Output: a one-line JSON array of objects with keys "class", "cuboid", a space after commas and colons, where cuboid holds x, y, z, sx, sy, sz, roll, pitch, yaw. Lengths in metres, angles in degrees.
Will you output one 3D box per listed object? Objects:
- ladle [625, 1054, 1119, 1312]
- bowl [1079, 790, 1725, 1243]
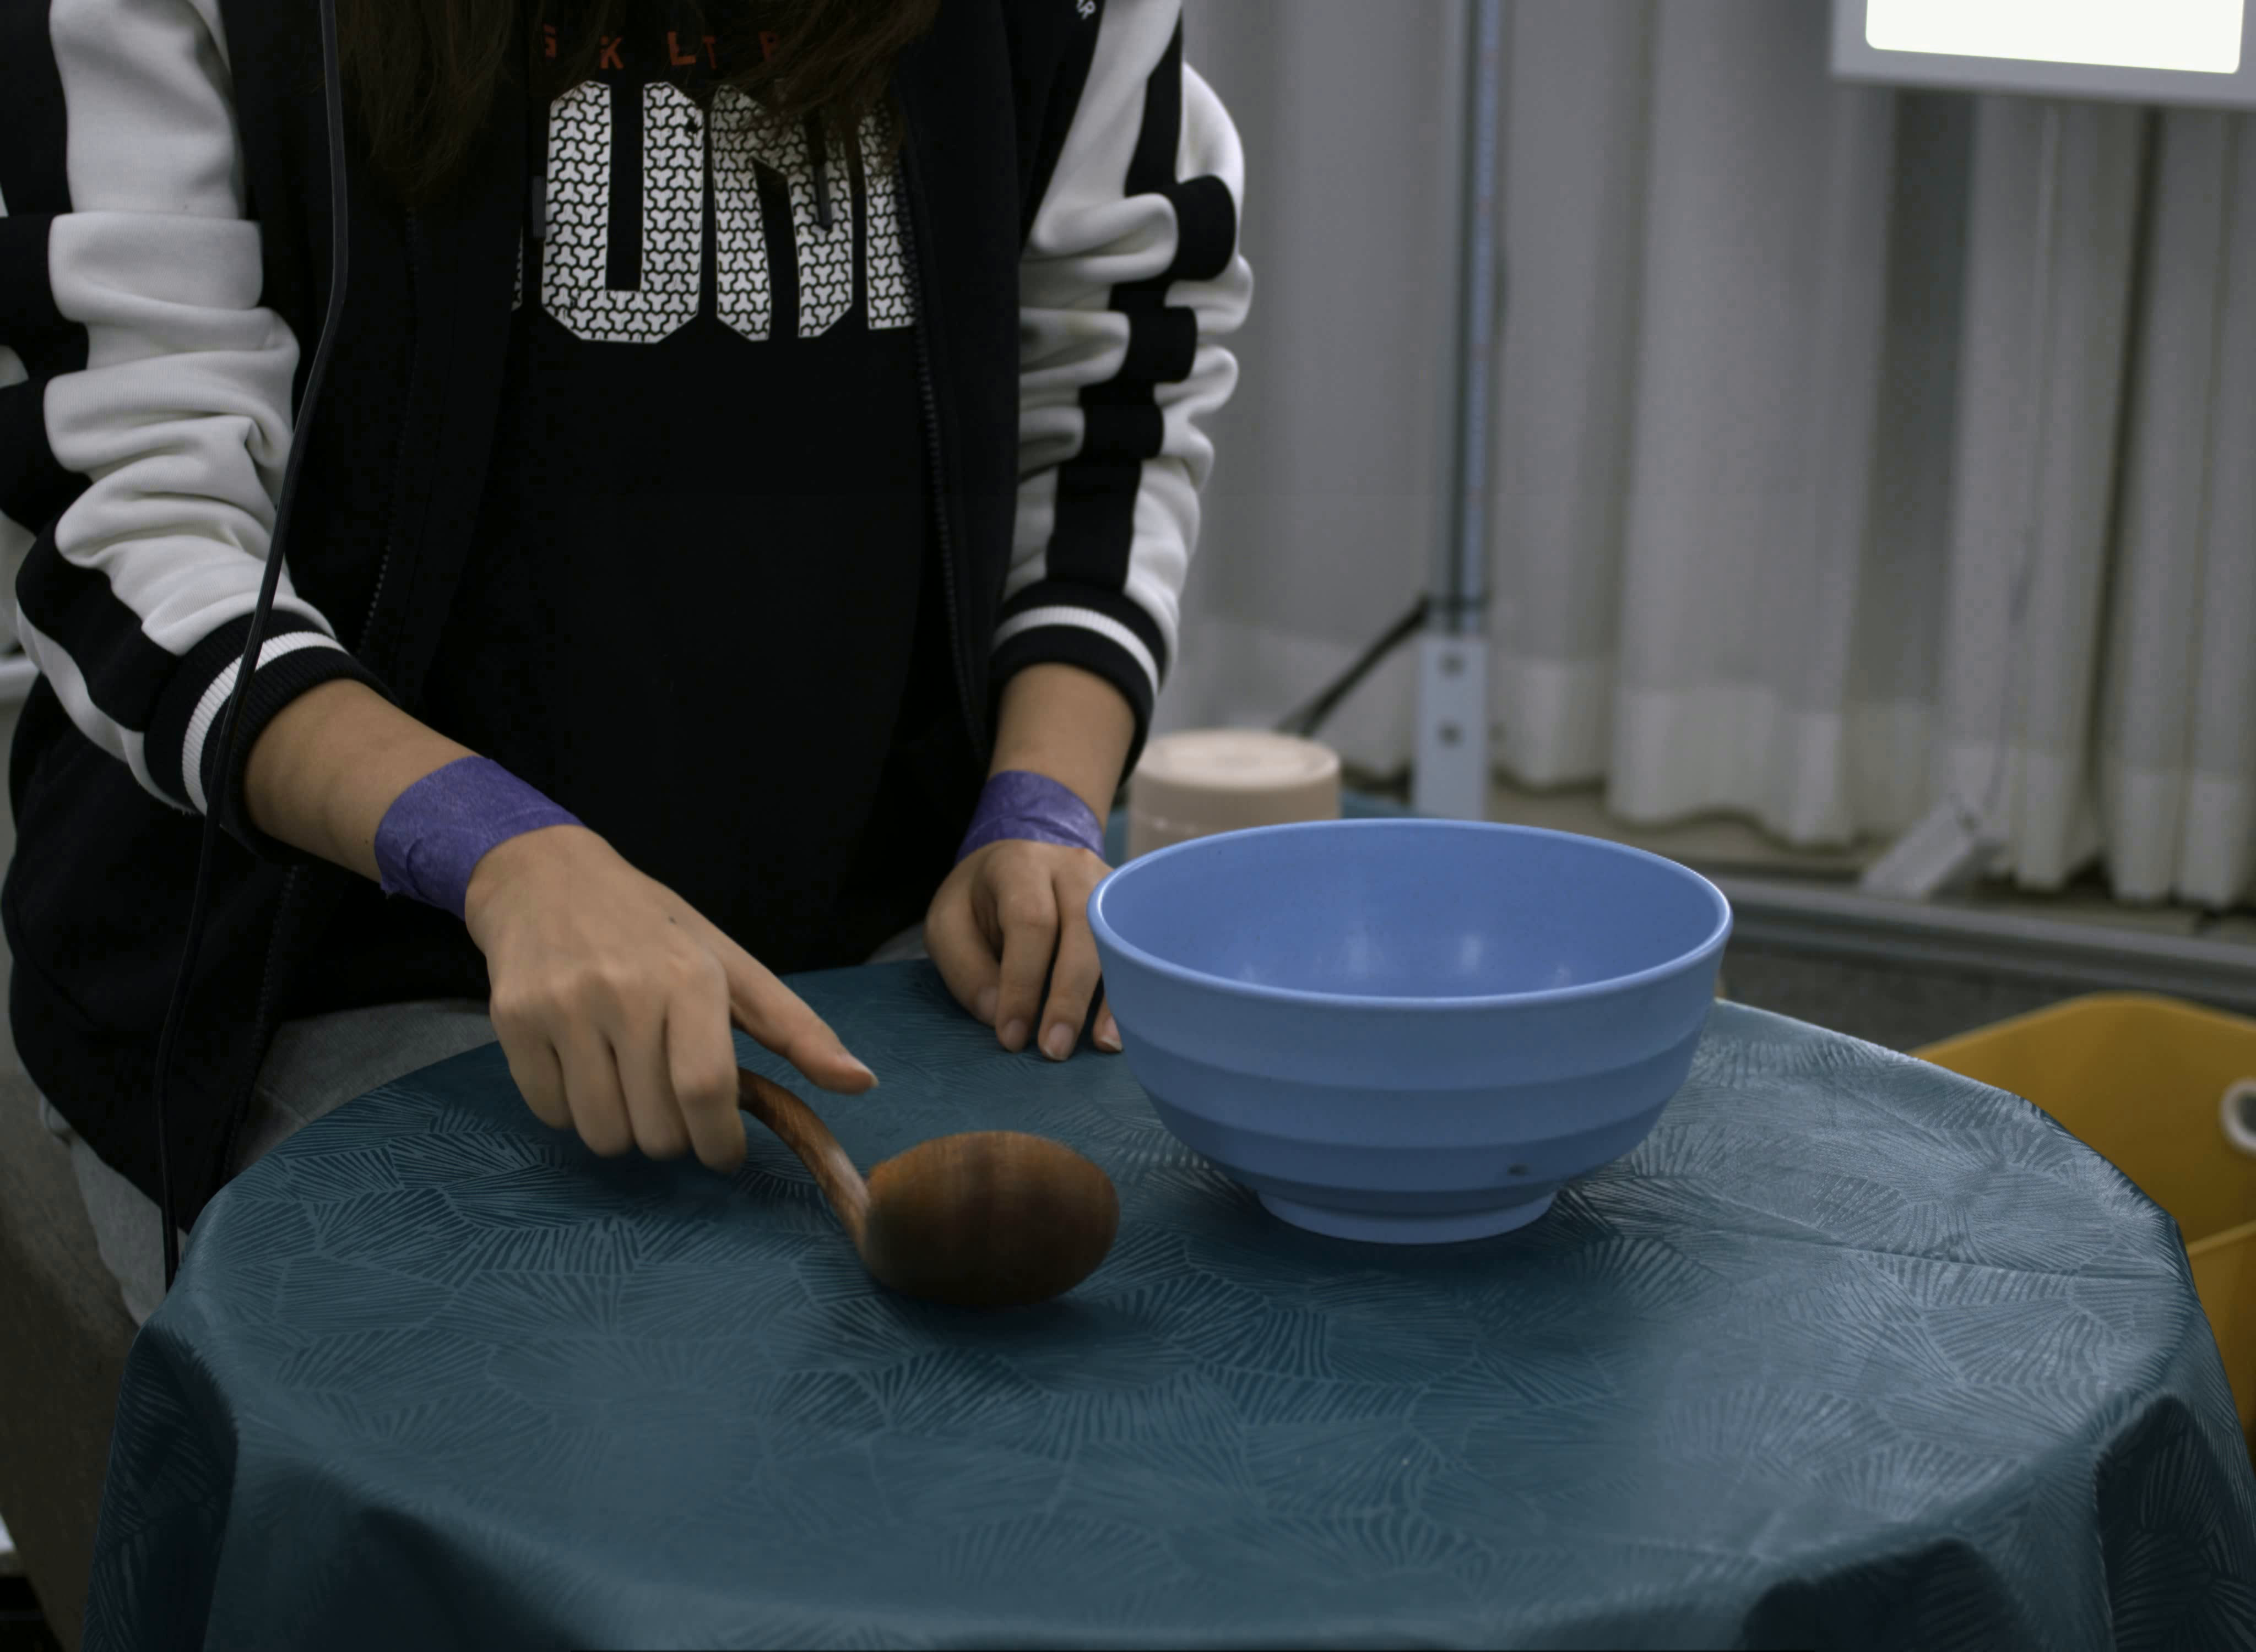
[{"class": "ladle", "cuboid": [-0.085, 0.090, 1.584, 0.077, 0.065, 0.257, 30, -1, -30]}, {"class": "bowl", "cuboid": [0.085, 0.066, 1.615, 0.196, 0.096, 0.195, -2, 21, 1]}]
